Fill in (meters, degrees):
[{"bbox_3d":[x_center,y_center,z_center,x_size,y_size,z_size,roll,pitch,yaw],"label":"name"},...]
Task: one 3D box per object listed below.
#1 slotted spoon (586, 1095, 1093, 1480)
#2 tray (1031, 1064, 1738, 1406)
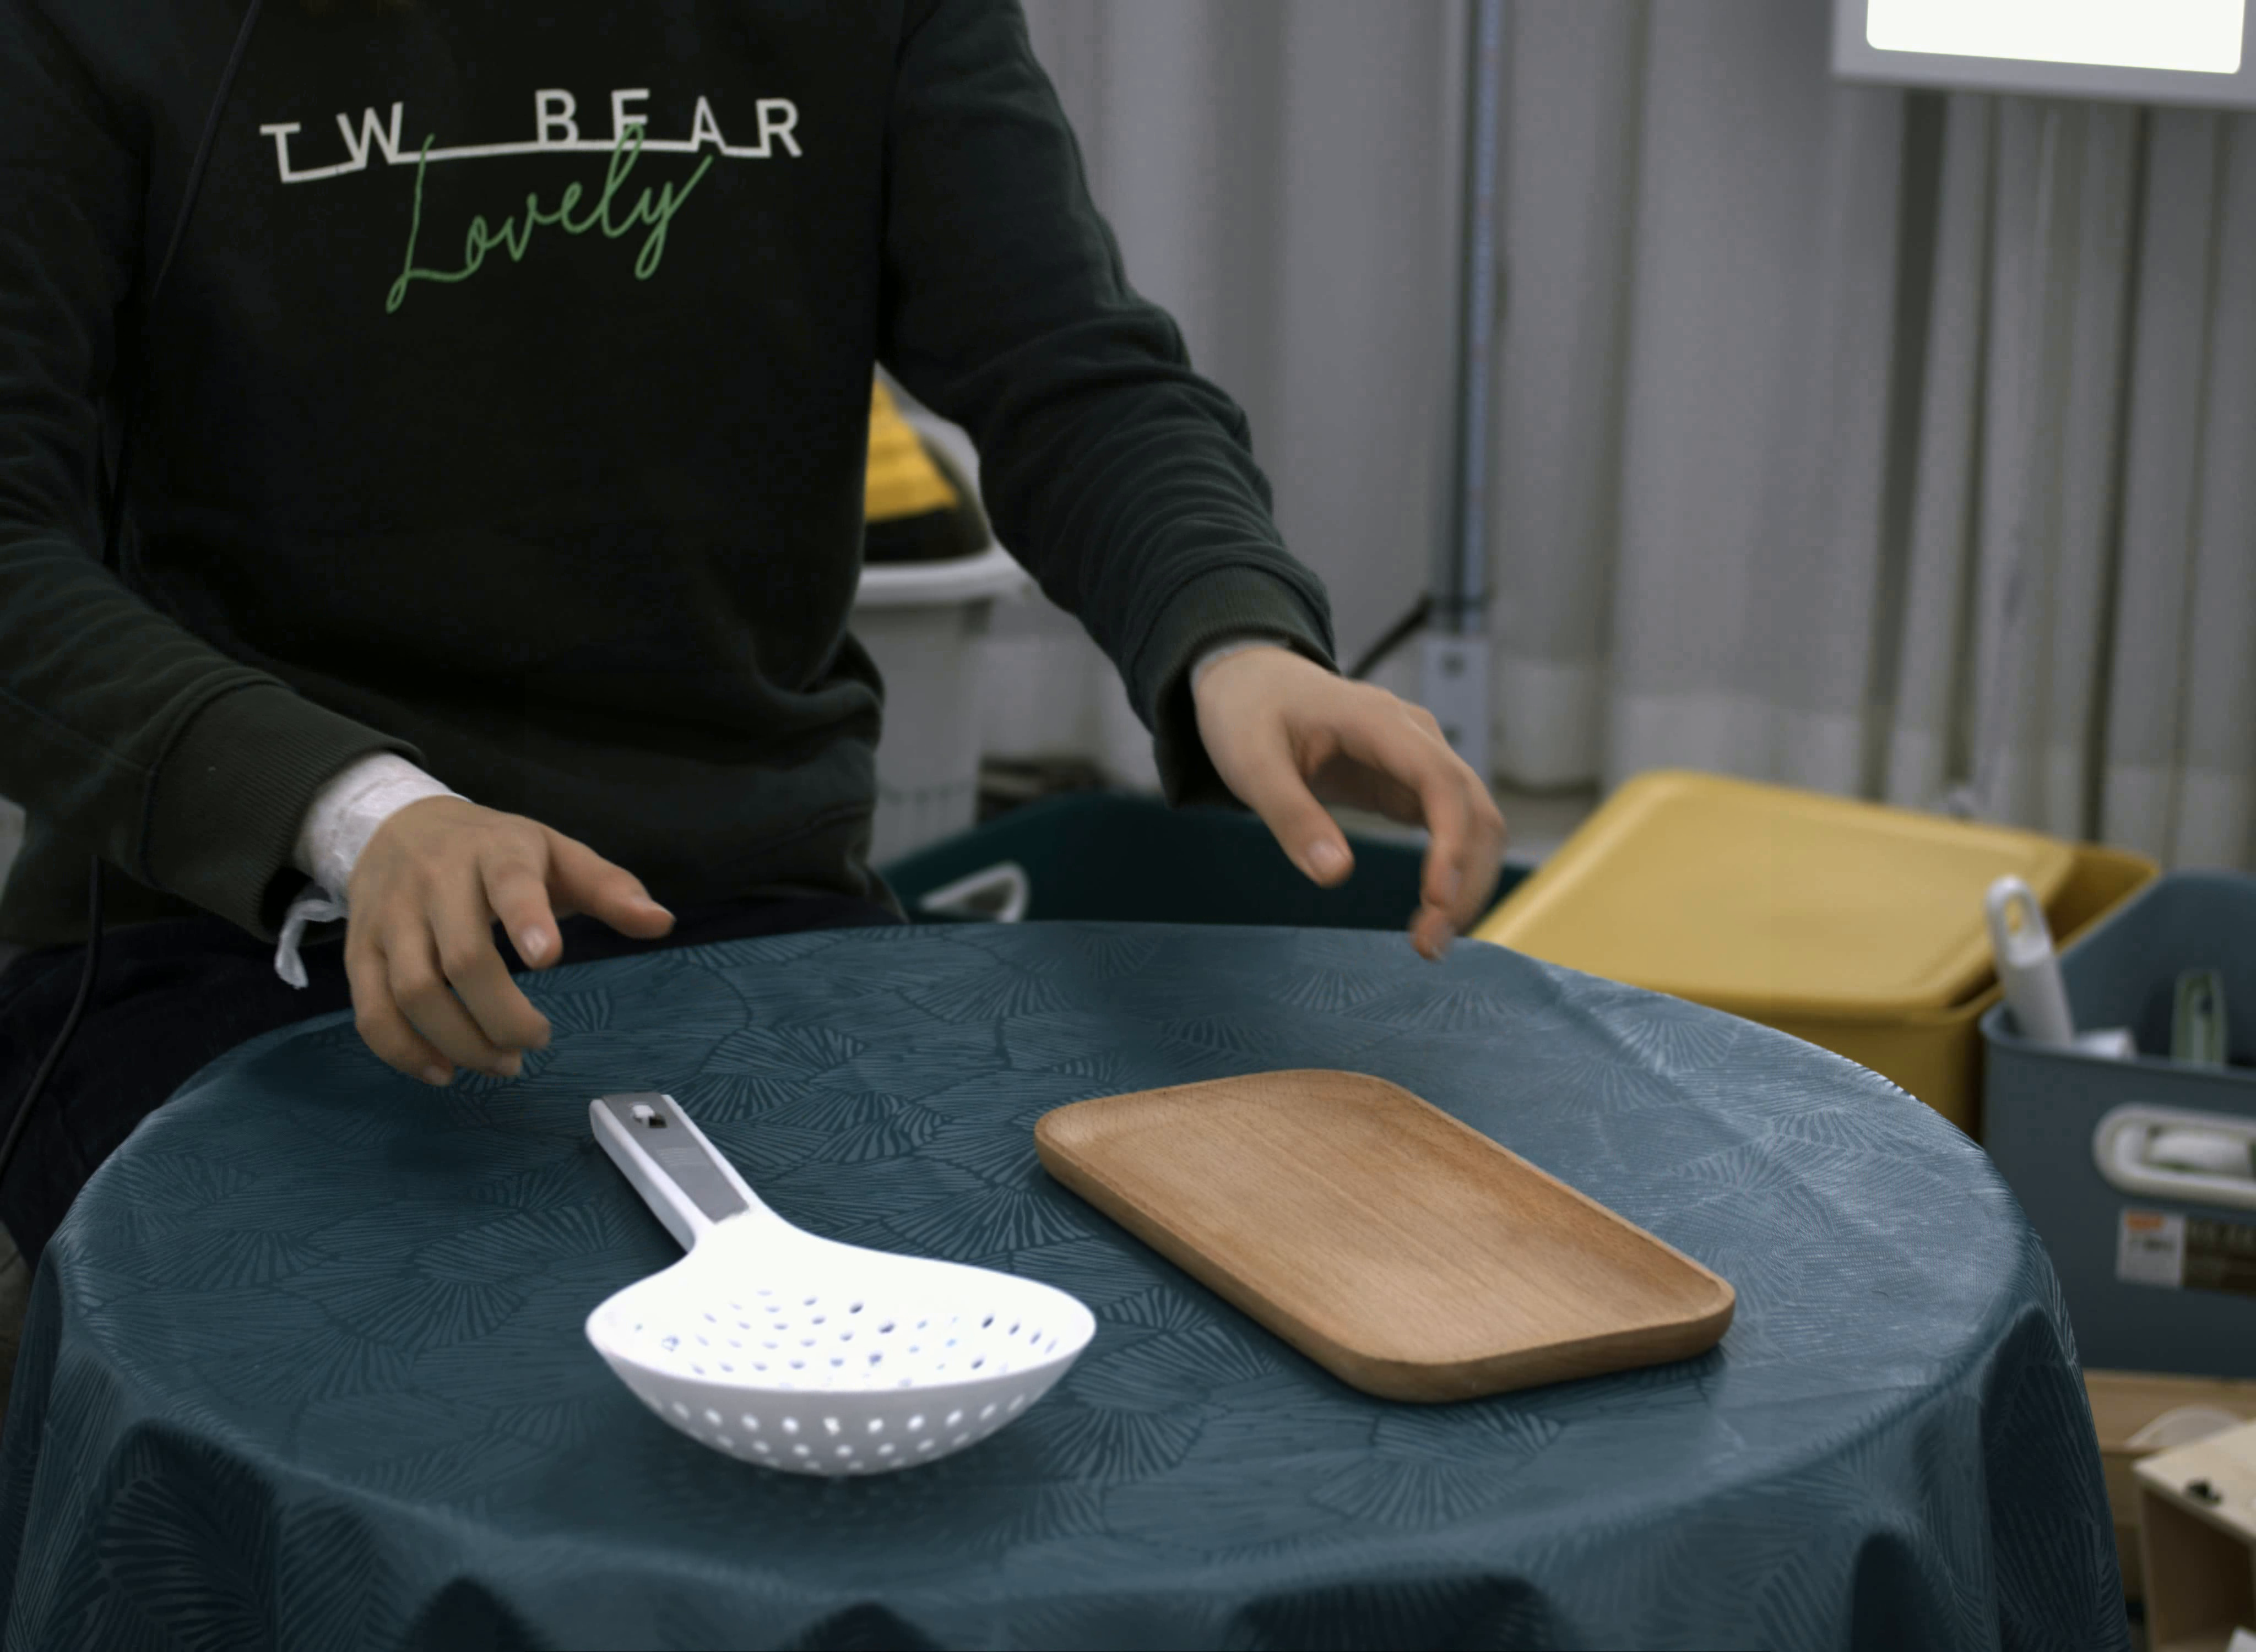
[{"bbox_3d":[-0.108,0.122,1.505,0.136,0.046,0.346,-1,15,-17],"label":"slotted spoon"},{"bbox_3d":[0.072,0.119,1.575,0.131,0.023,0.247,-5,16,-26],"label":"tray"}]
